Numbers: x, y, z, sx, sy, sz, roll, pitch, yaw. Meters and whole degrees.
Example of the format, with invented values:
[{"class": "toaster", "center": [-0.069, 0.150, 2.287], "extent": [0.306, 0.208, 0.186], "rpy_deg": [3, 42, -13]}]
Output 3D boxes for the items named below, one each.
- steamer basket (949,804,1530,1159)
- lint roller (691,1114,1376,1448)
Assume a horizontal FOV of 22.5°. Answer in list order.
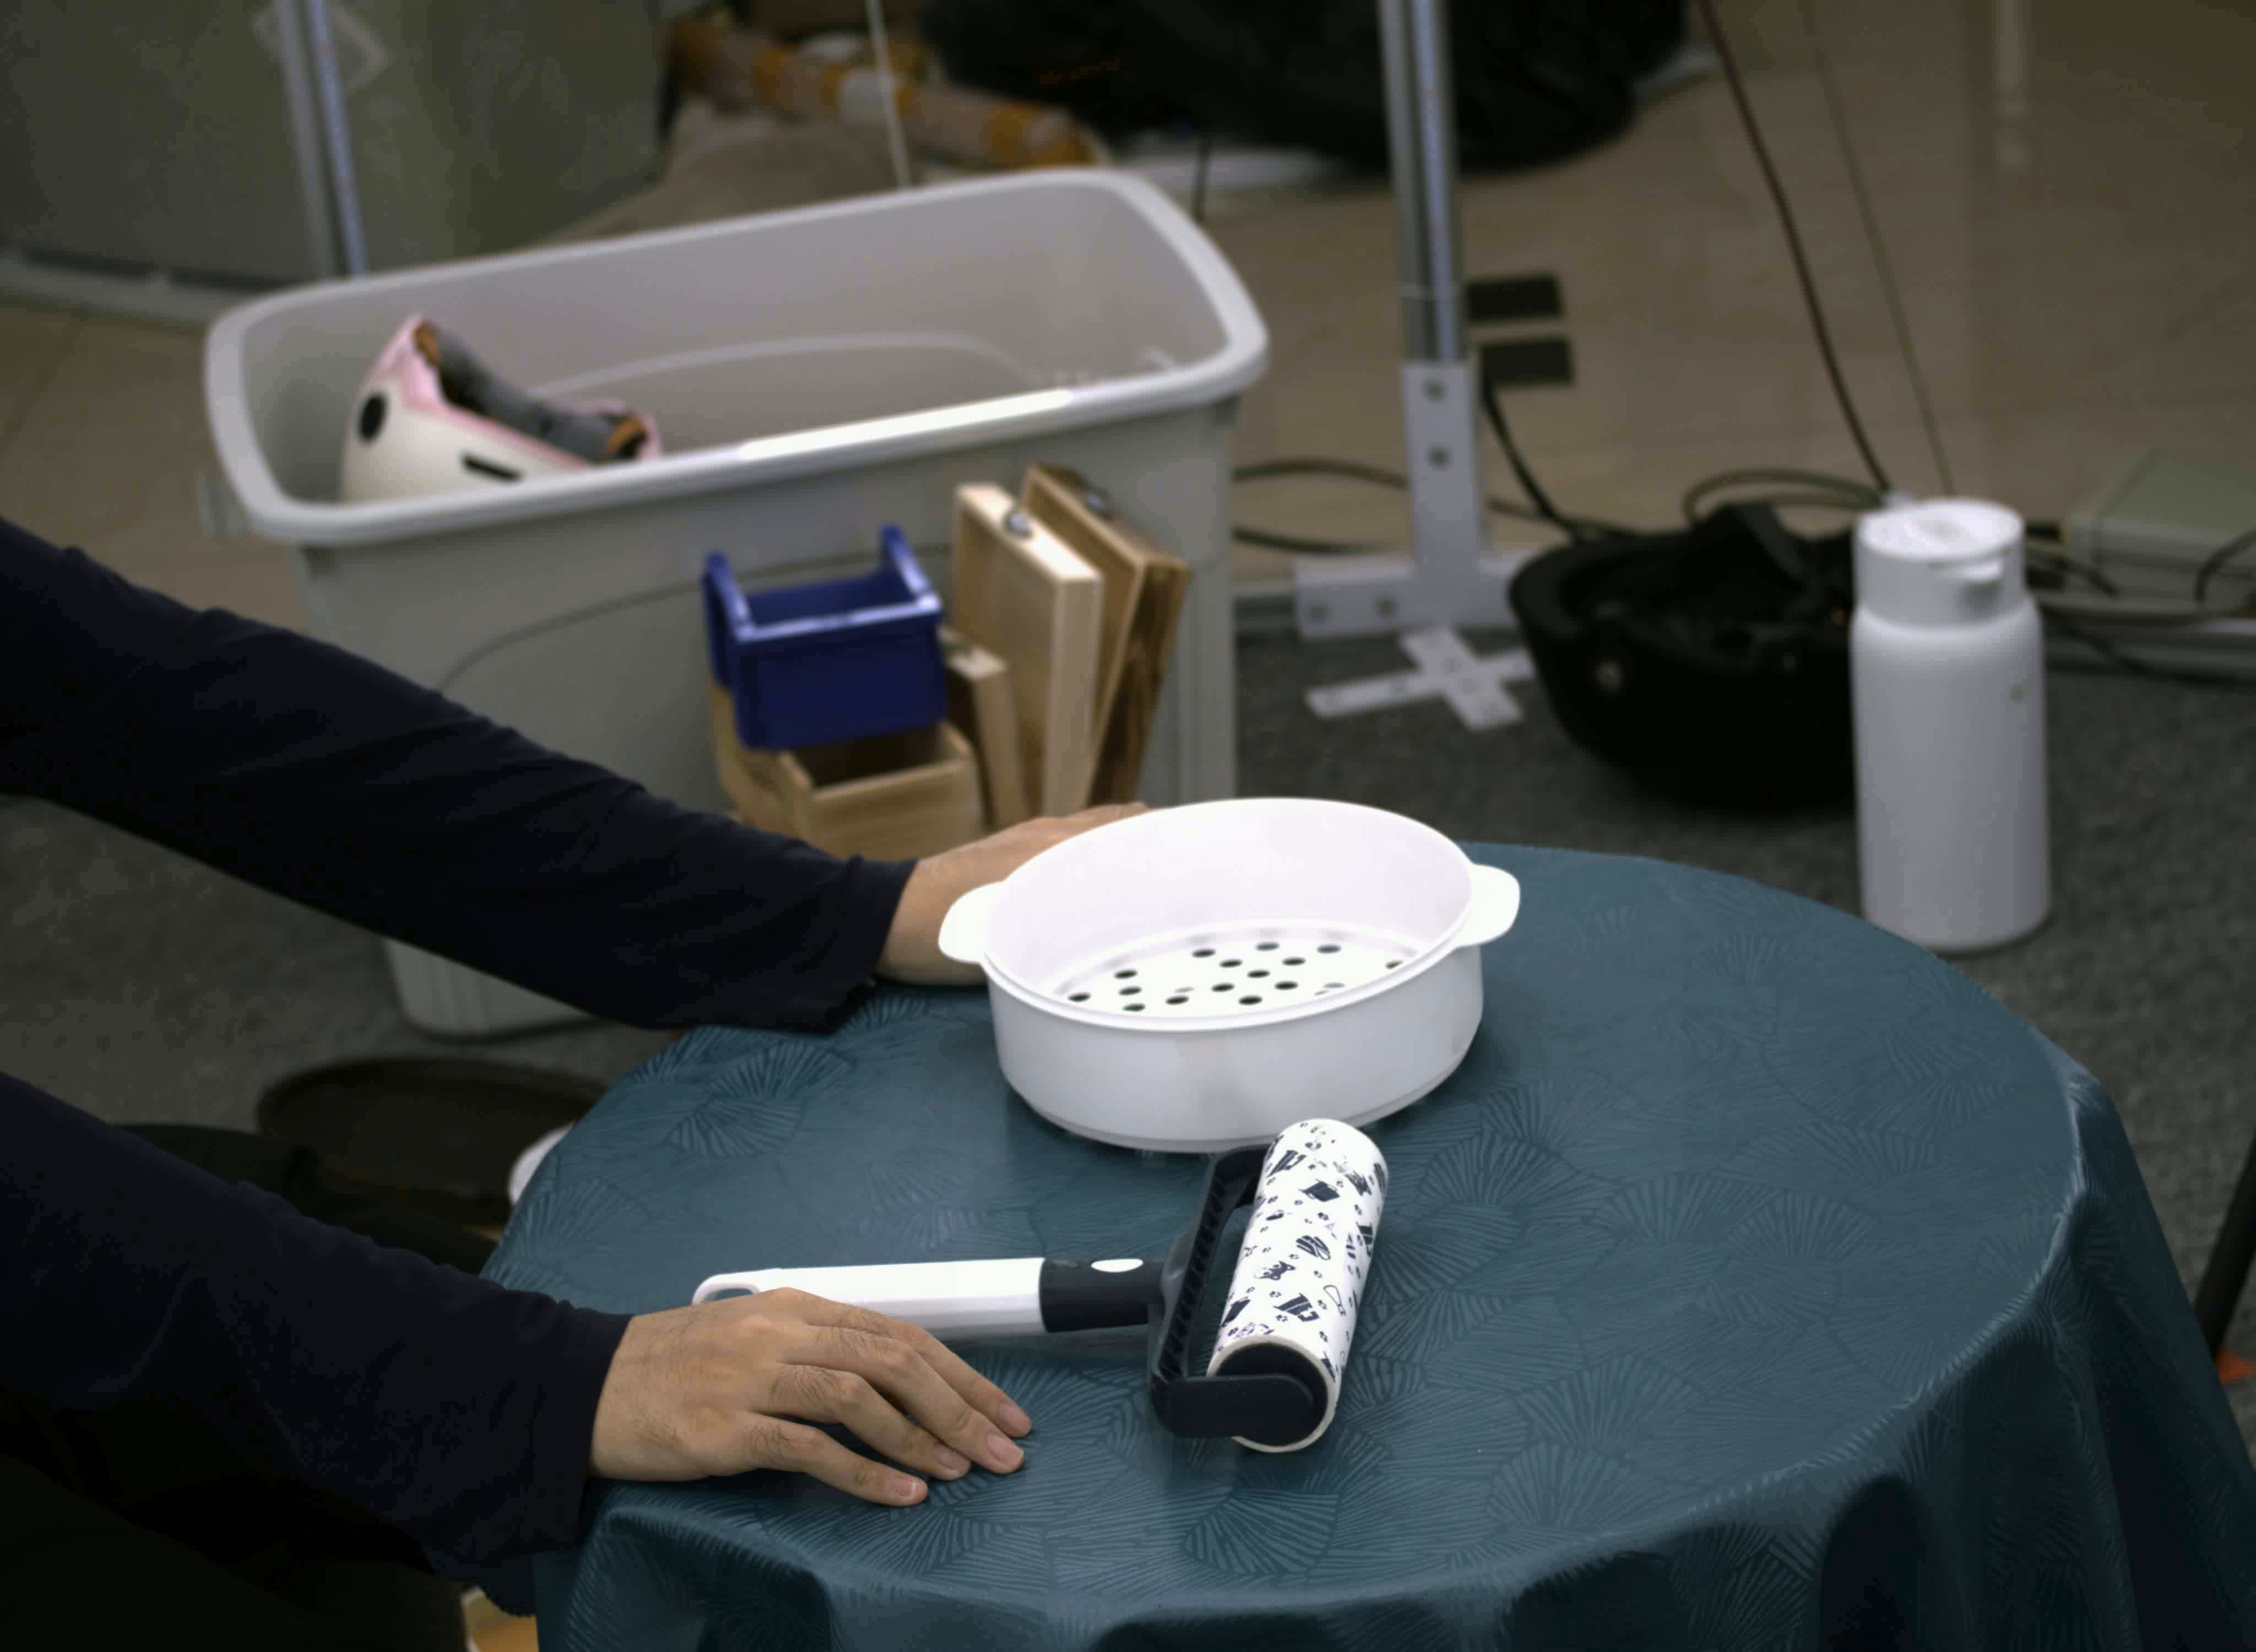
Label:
[{"class": "steamer basket", "center": [0.047, 0.061, 2.231], "extent": [0.230, 0.070, 0.199], "rpy_deg": [-5, 24, 12]}, {"class": "lint roller", "center": [-0.040, 0.170, 2.046], "extent": [0.247, 0.051, 0.173], "rpy_deg": [-5, 25, 11]}]
